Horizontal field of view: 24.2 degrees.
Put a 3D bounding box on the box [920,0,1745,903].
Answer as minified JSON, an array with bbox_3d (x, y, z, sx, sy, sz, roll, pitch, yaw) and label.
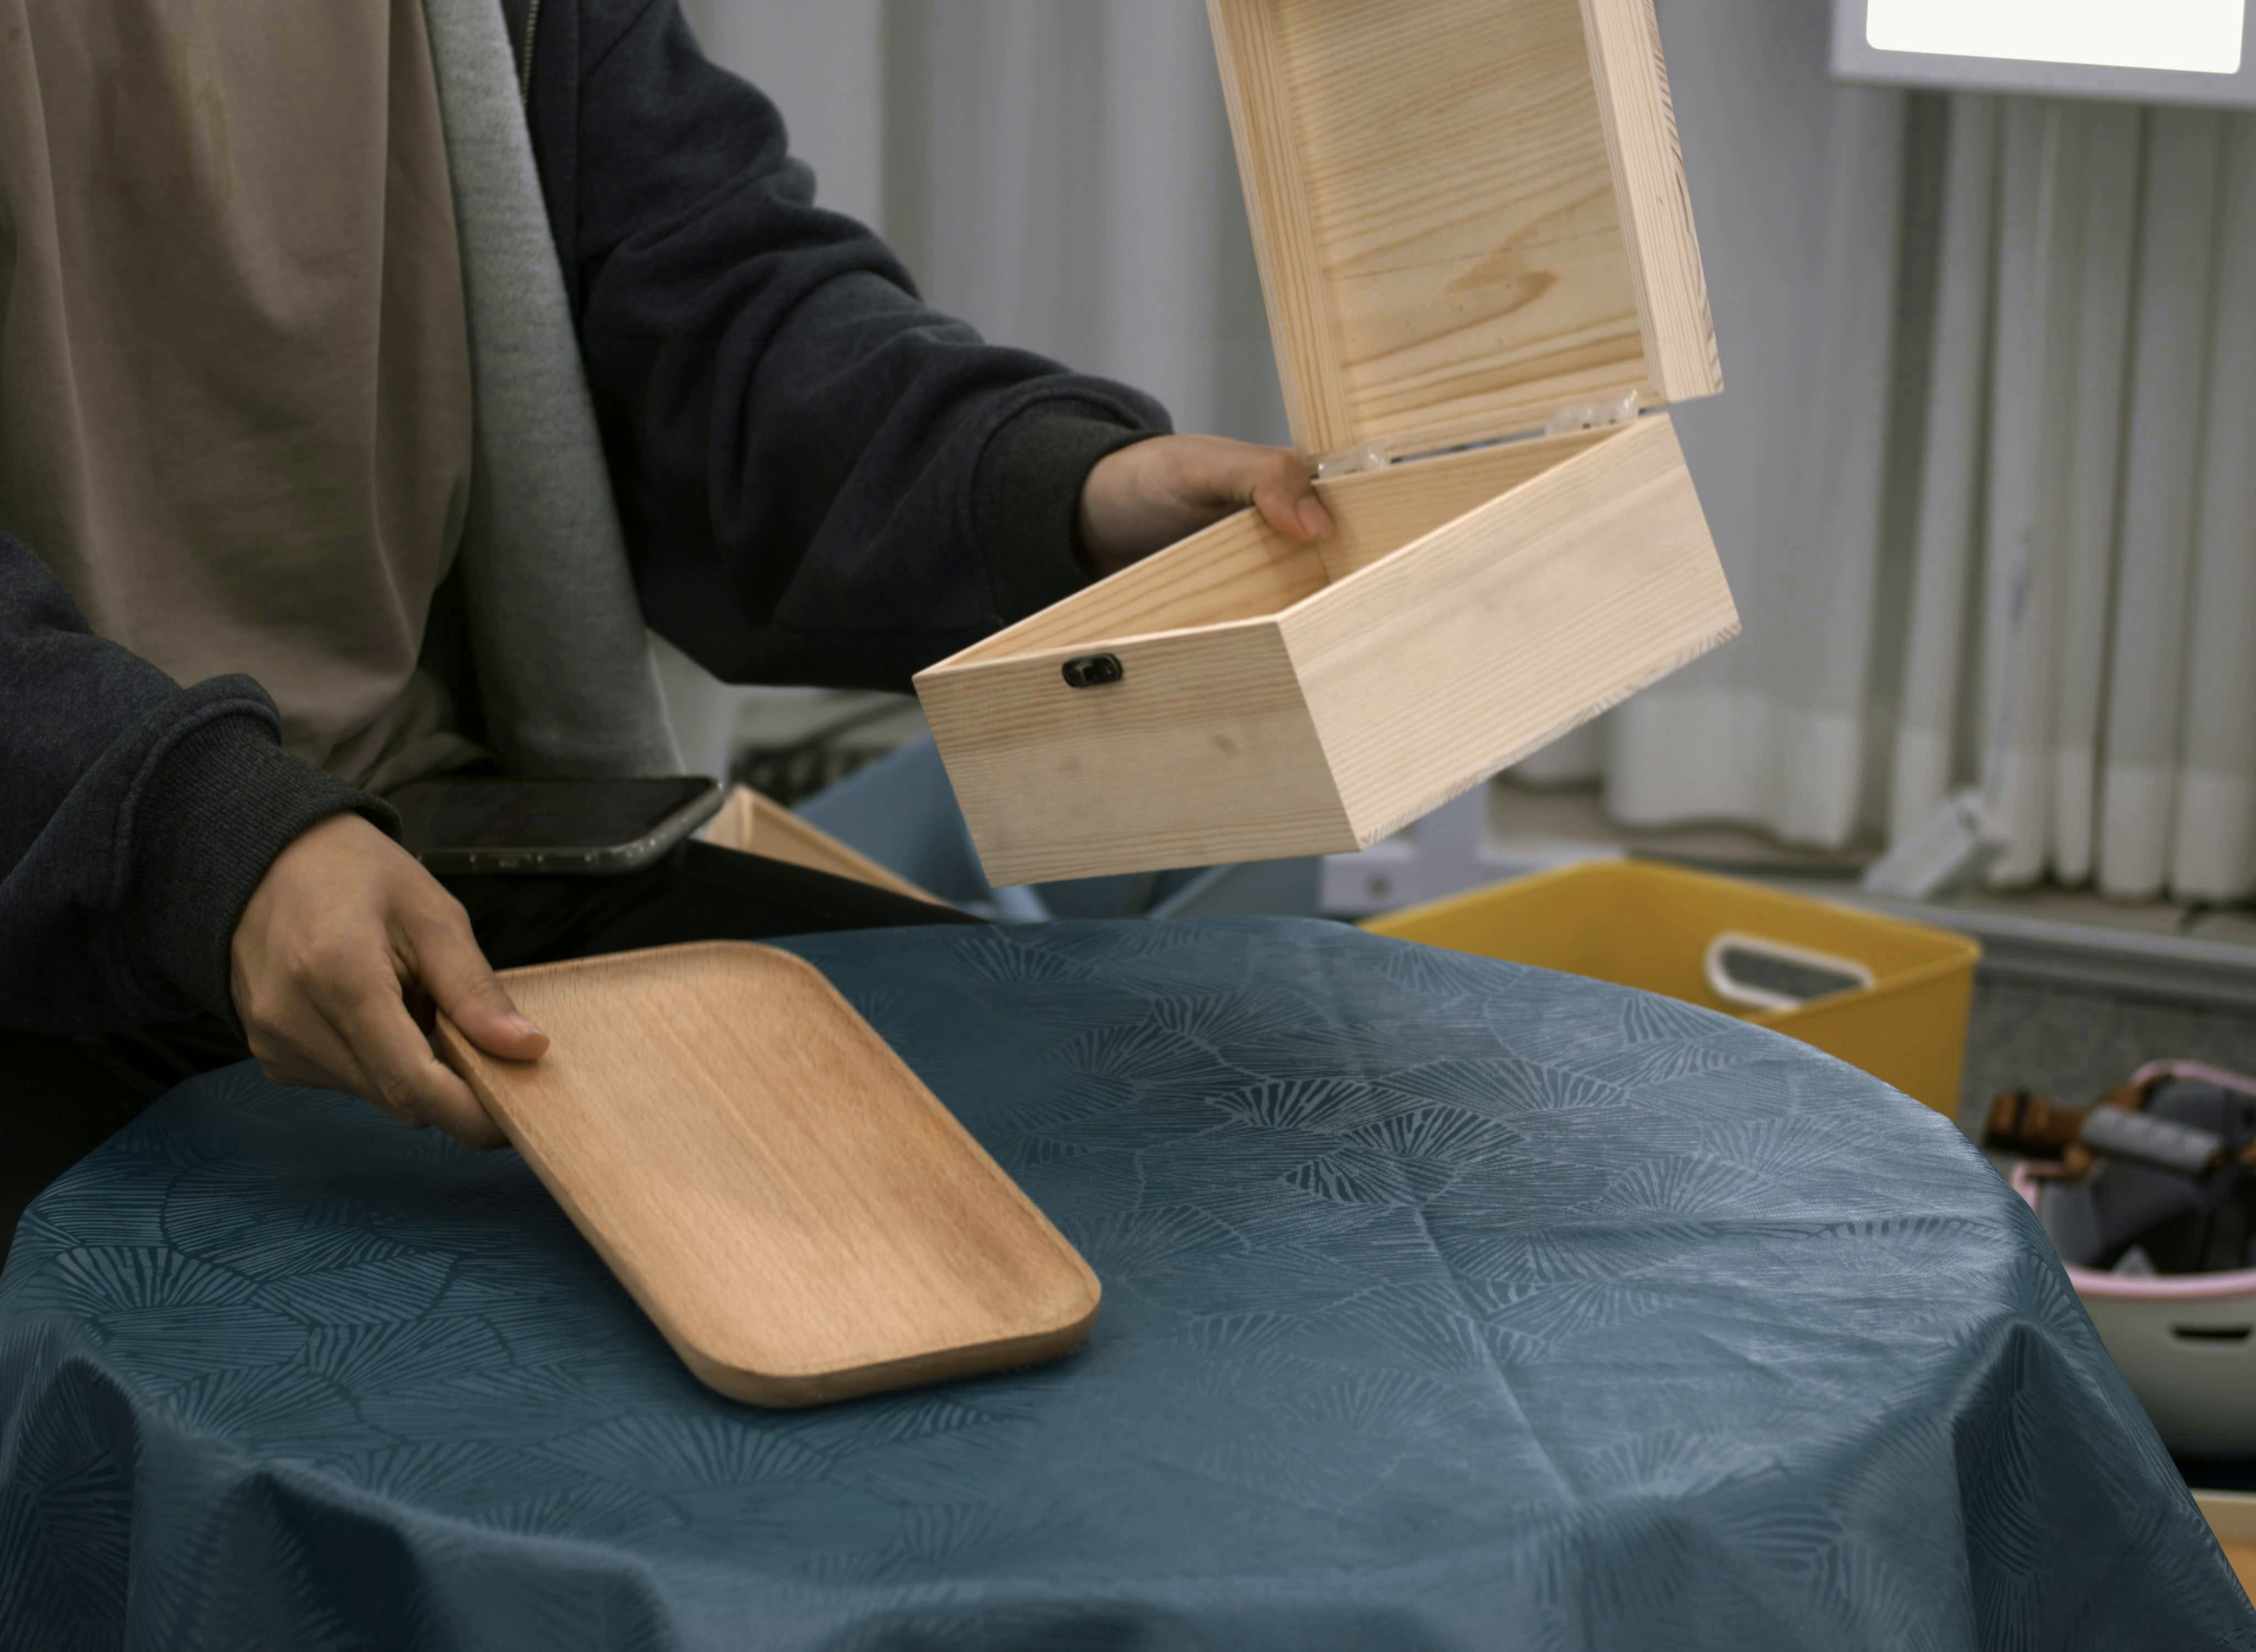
[{"bbox_3d":[0.058,-0.145,1.673,0.266,0.255,0.180,-28,11,-39],"label":"box"}]

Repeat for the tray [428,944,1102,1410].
[{"bbox_3d":[-0.111,0.099,1.551,0.131,0.023,0.247,-4,26,-28],"label":"tray"}]
